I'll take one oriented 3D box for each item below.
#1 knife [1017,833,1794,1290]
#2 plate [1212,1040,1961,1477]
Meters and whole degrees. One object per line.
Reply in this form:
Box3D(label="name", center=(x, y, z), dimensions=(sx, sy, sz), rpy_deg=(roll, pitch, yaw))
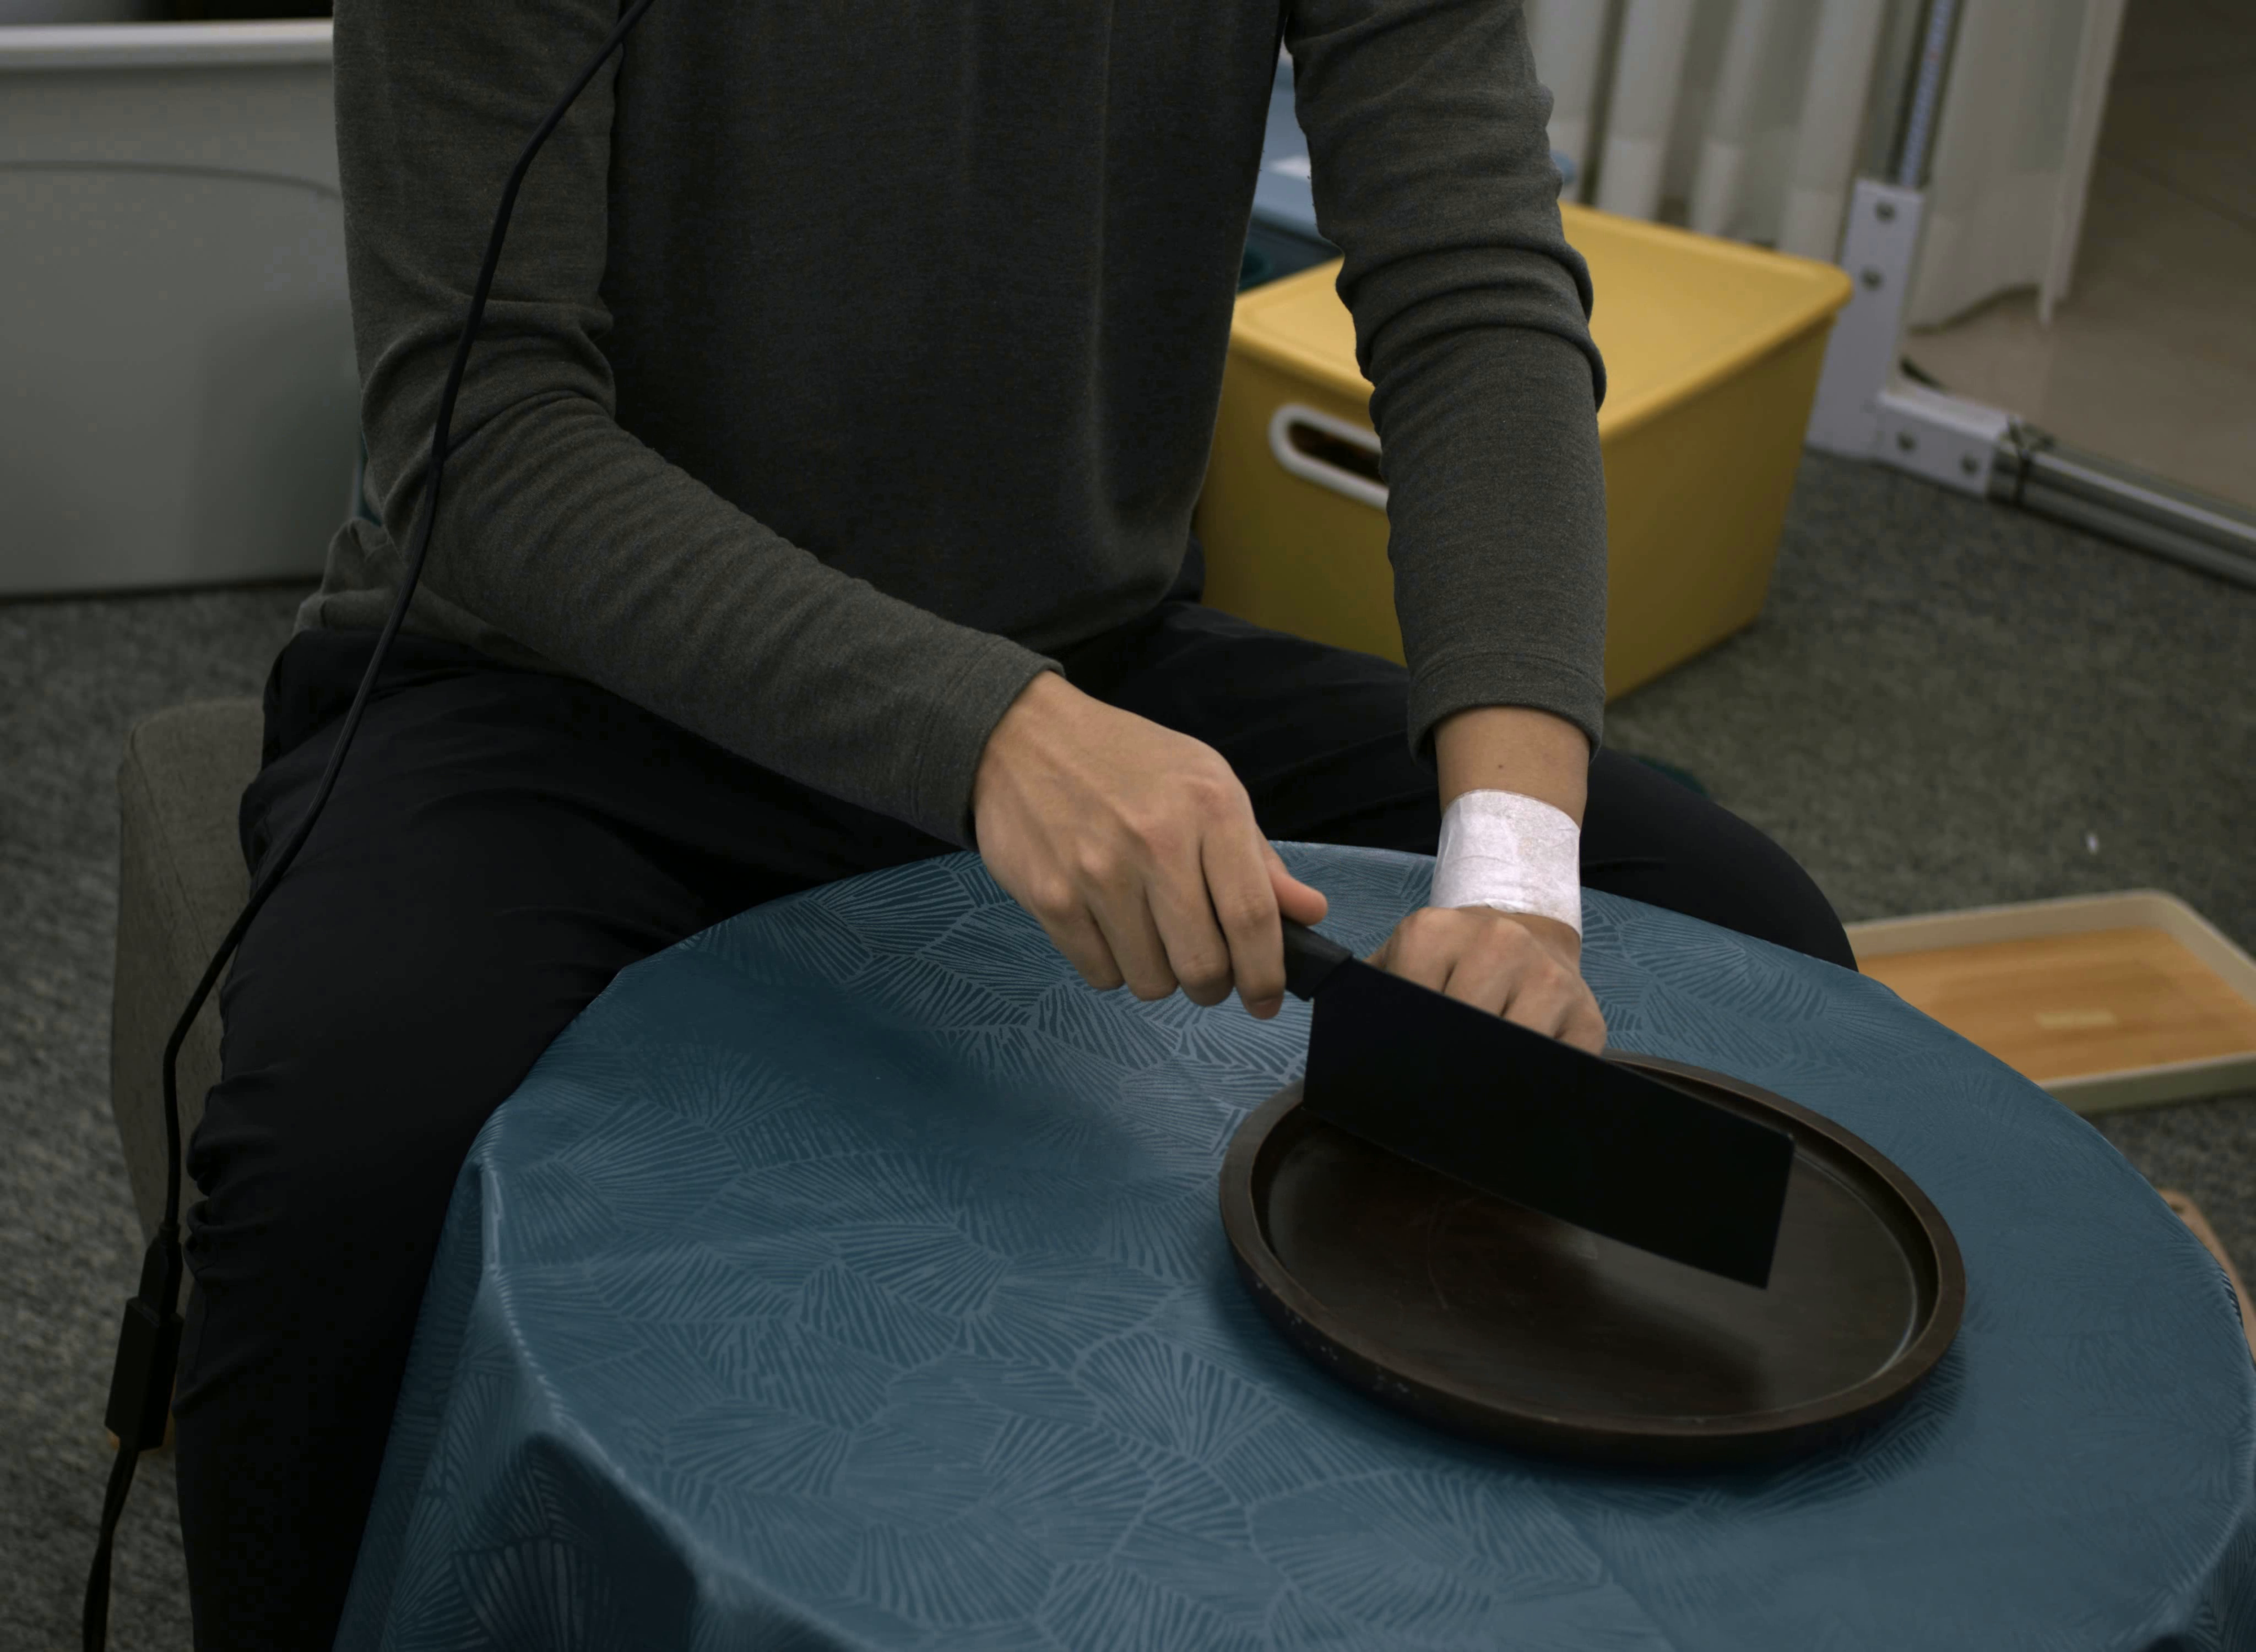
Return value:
Box3D(label="knife", center=(0.089, 0.074, 1.792), dimensions=(0.304, 0.080, 0.021), rpy_deg=(26, 32, 25))
Box3D(label="plate", center=(0.152, 0.142, 1.780), dimensions=(0.254, 0.029, 0.256), rpy_deg=(4, 27, -3))
